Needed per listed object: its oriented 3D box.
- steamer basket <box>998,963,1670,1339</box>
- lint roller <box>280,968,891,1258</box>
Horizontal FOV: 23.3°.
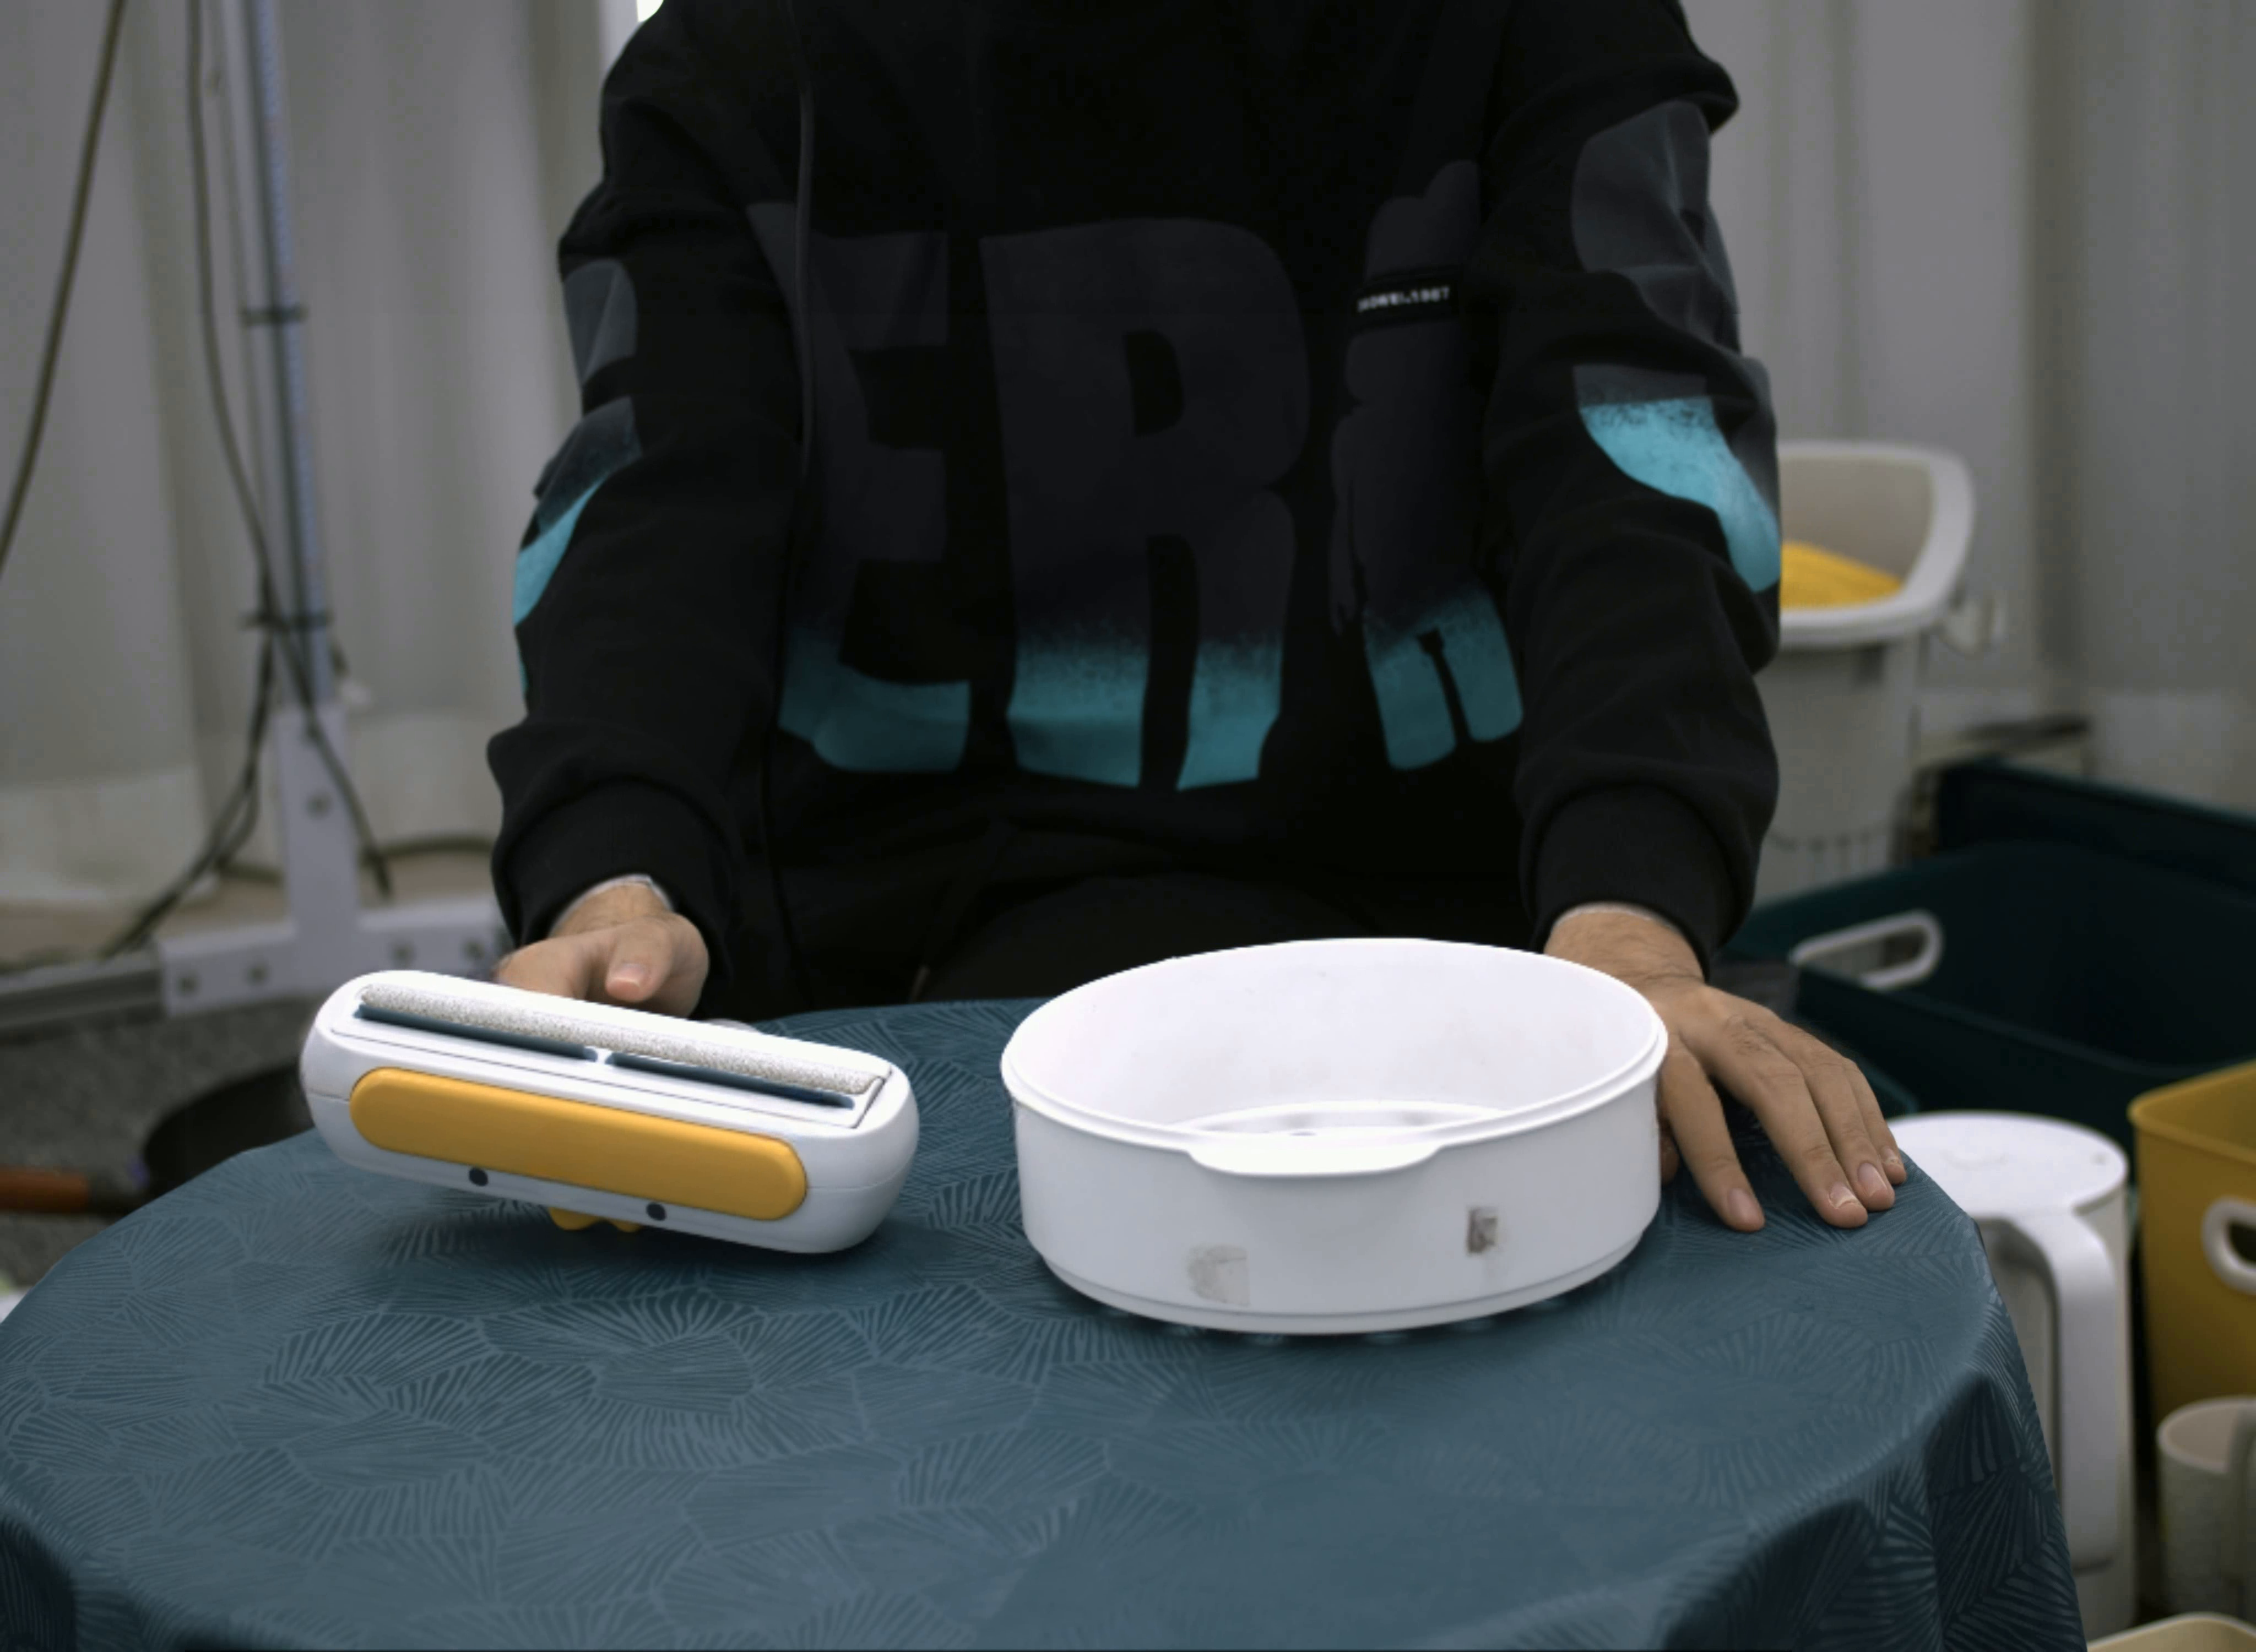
[{"bbox_3d":[0.062,0.097,1.644,0.201,0.069,0.231,0,13,6],"label":"steamer basket"},{"bbox_3d":[-0.151,0.081,1.744,0.193,0.074,0.193,6,15,15],"label":"lint roller"}]
